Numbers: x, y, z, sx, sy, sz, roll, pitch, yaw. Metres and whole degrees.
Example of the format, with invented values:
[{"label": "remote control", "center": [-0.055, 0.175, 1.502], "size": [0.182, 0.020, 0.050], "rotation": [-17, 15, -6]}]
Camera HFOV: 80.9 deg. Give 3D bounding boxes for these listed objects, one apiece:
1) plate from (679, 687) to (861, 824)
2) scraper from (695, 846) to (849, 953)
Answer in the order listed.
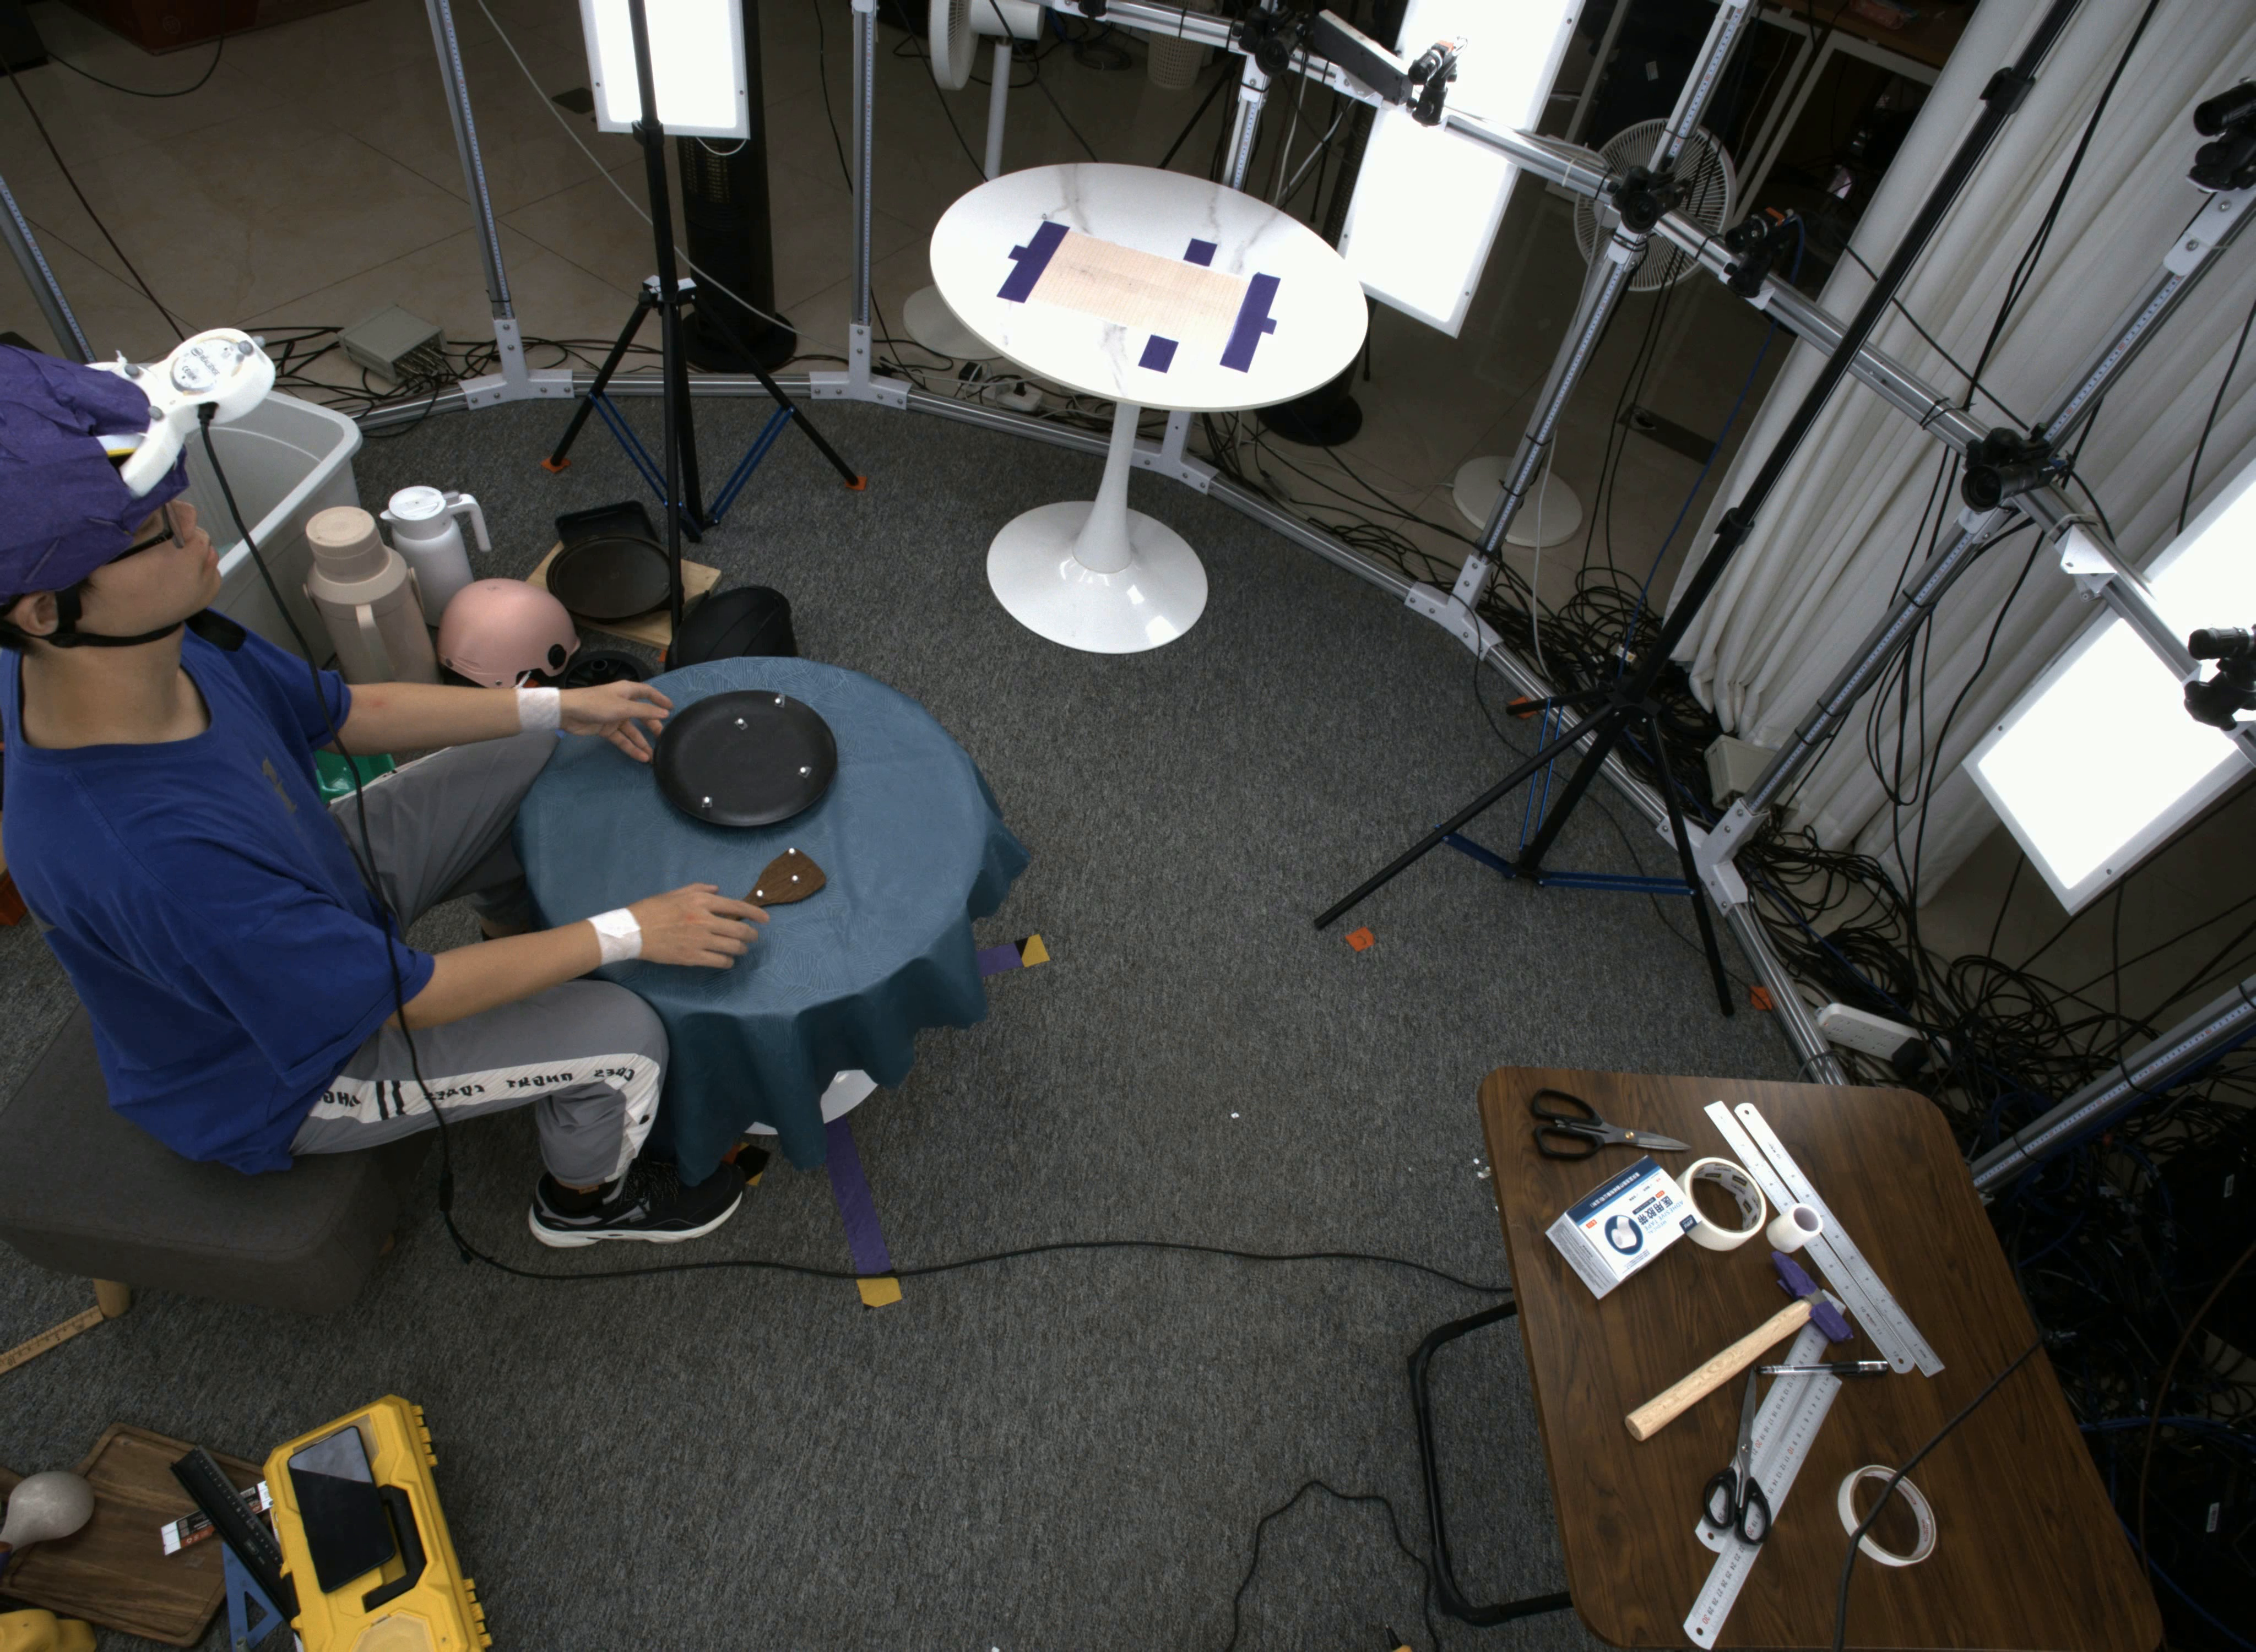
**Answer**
[{"label": "plate", "center": [-0.489, -0.095, 1.772], "size": [0.244, 0.024, 0.240], "rotation": [8, 53, -9]}, {"label": "scraper", "center": [-0.457, 0.096, 1.649], "size": [0.212, 0.011, 0.074], "rotation": [-35, 68, -31]}]
